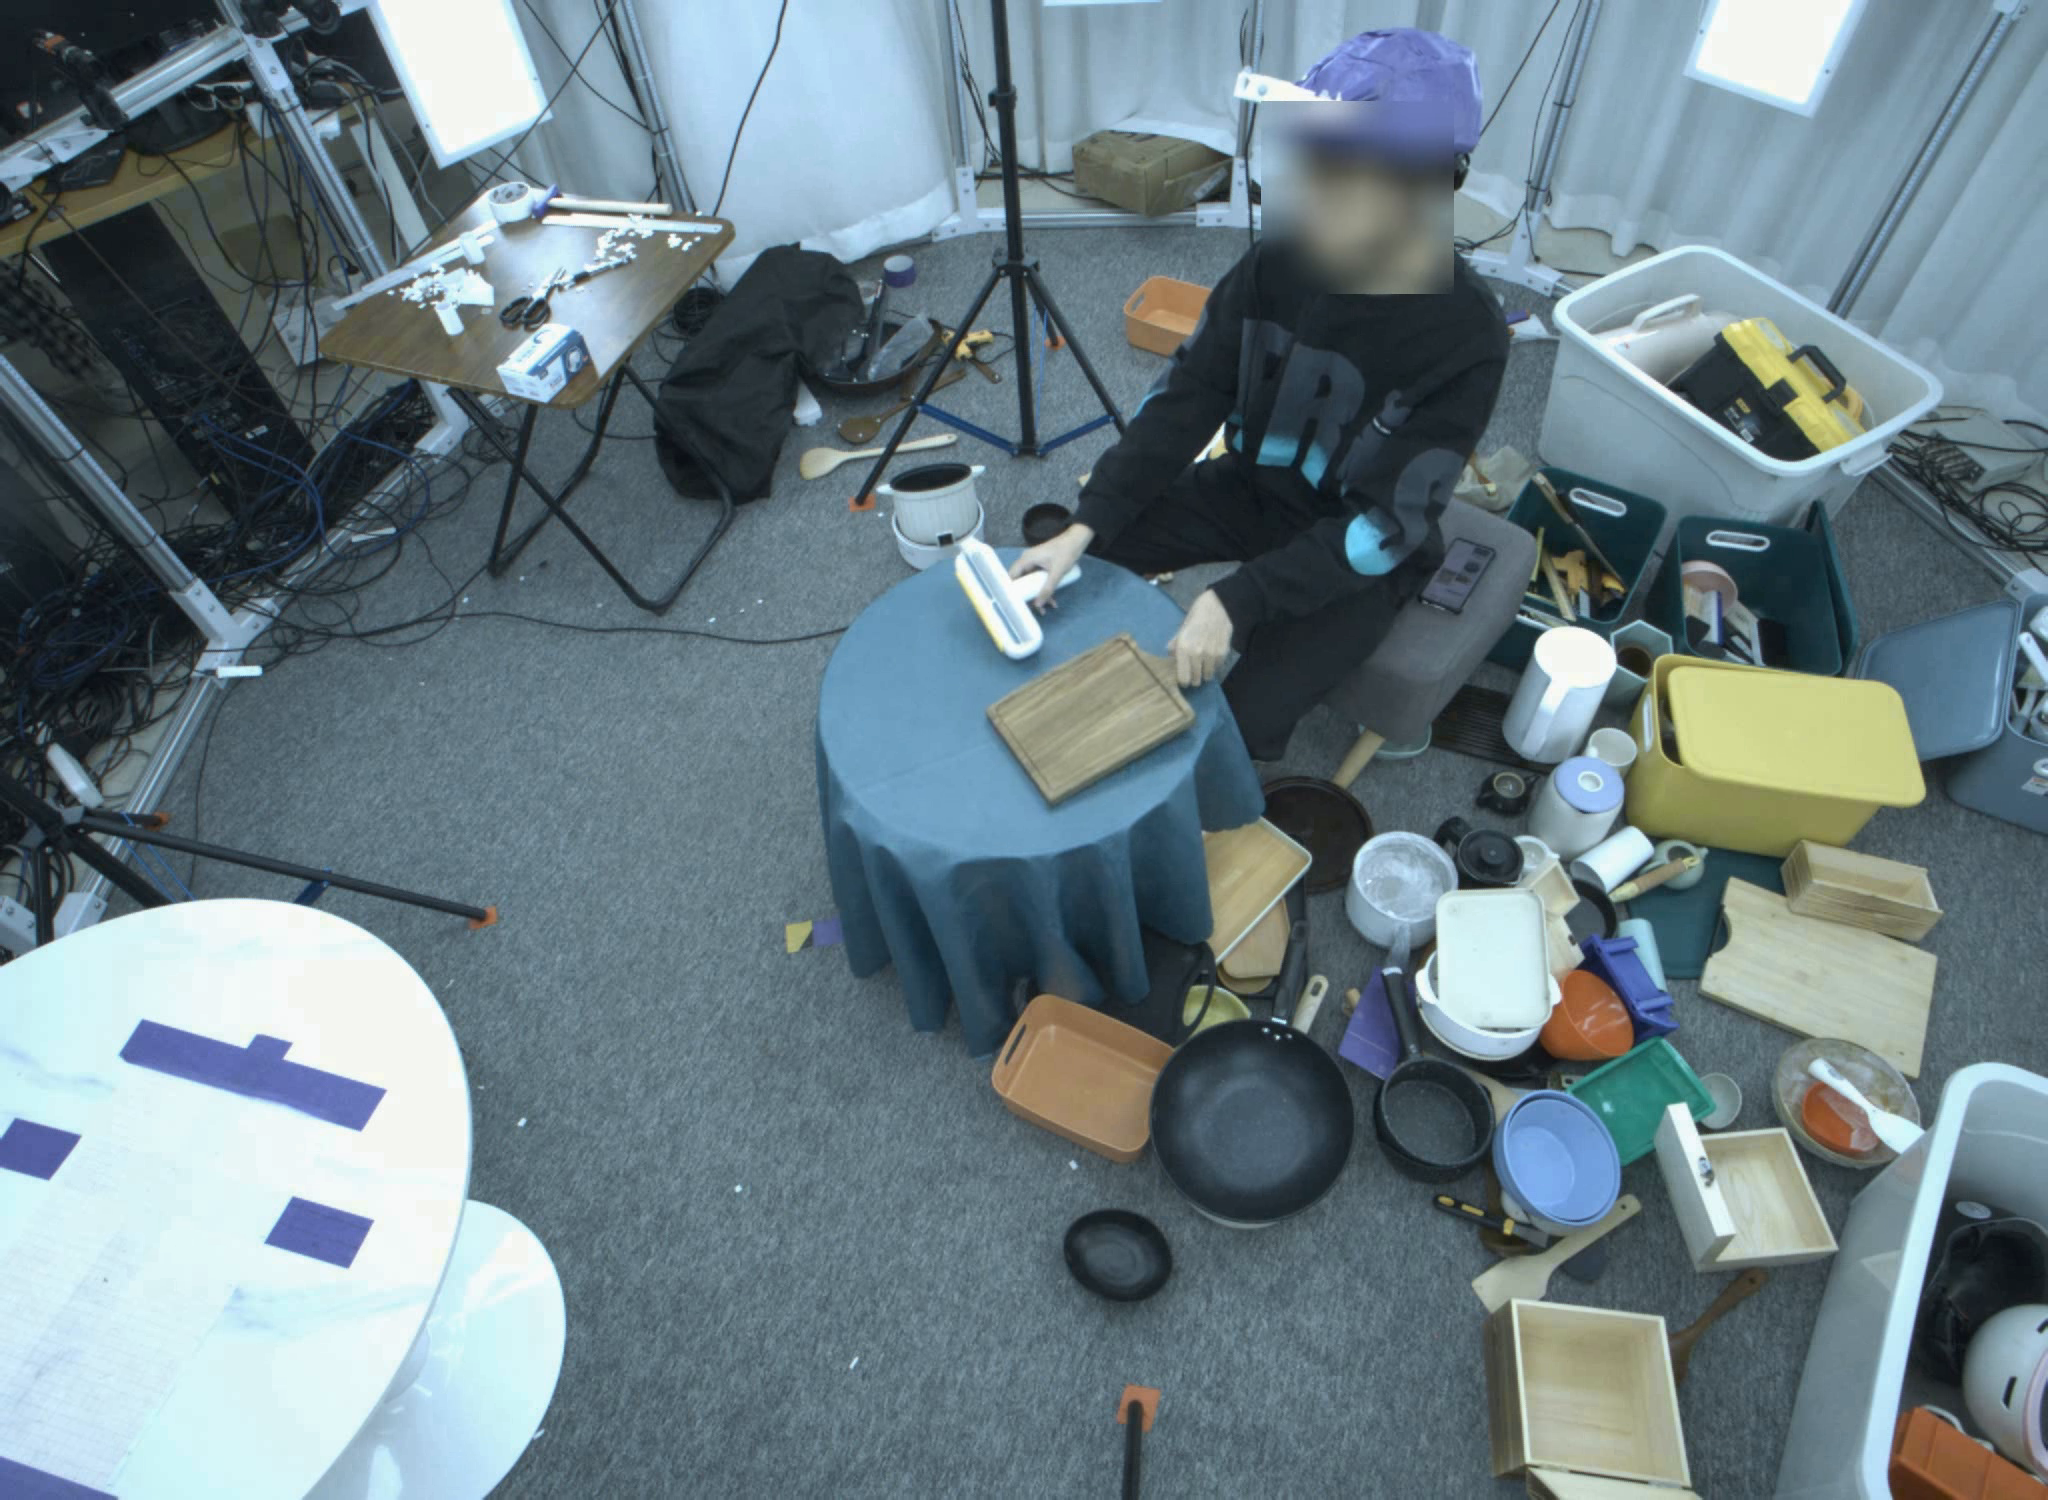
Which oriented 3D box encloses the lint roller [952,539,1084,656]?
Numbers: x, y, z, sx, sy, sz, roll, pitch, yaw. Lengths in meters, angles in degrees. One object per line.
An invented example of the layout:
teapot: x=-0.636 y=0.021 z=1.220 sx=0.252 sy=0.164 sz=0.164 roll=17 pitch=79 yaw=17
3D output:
lint roller: x=0.007 y=-0.254 z=1.899 sx=0.194 sy=0.074 sz=0.191 roll=-25 pitch=77 yaw=-15

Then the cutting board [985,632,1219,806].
cutting board: x=0.137 y=-0.074 z=1.798 sx=0.354 sy=0.023 sz=0.197 roll=-30 pitch=58 yaw=-12
